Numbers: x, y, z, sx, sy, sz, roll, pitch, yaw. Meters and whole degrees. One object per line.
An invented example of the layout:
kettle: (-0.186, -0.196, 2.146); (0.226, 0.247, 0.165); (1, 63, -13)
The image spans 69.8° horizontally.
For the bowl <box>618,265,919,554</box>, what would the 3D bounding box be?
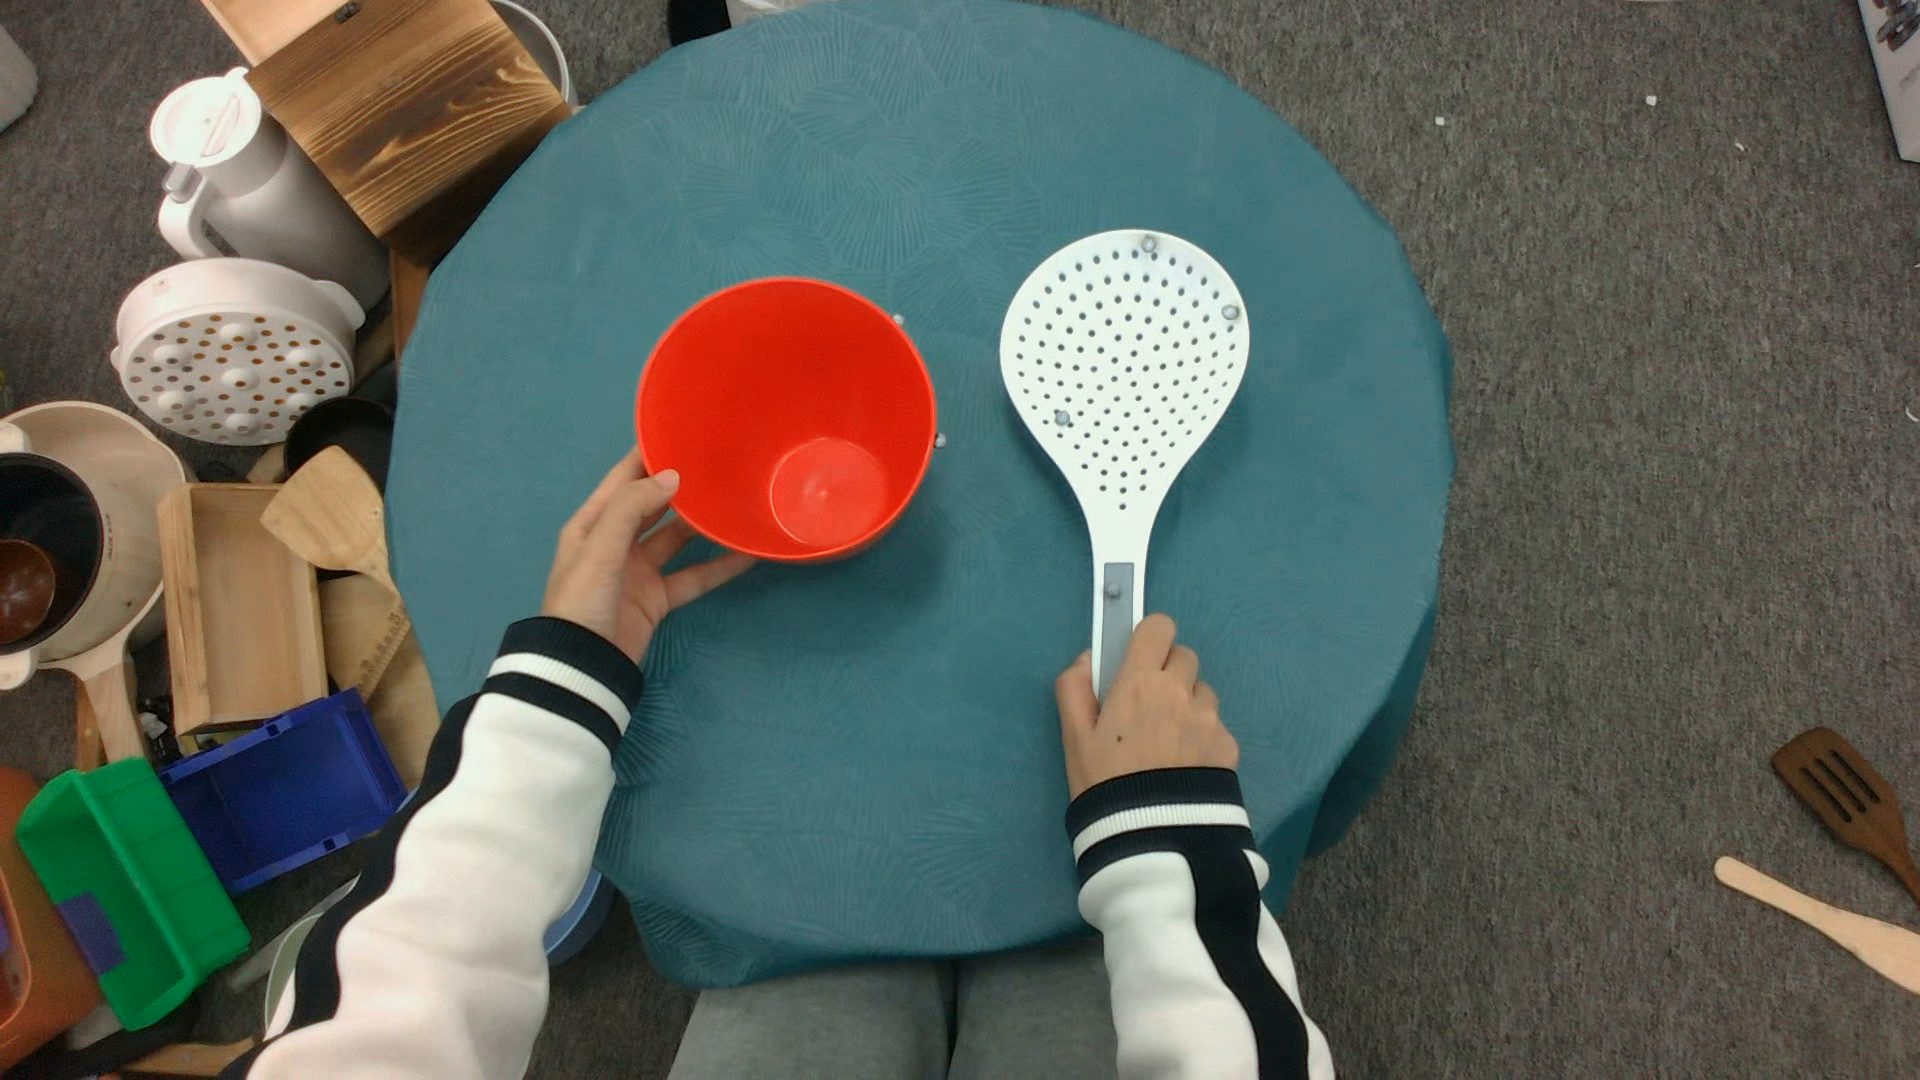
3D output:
bowl: (-0.094, -0.055, 0.721); (0.148, 0.104, 0.148); (0, 69, -1)

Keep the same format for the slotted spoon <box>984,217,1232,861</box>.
slotted spoon: (0.075, -0.009, 0.732); (0.136, 0.045, 0.351); (0, 70, 11)
